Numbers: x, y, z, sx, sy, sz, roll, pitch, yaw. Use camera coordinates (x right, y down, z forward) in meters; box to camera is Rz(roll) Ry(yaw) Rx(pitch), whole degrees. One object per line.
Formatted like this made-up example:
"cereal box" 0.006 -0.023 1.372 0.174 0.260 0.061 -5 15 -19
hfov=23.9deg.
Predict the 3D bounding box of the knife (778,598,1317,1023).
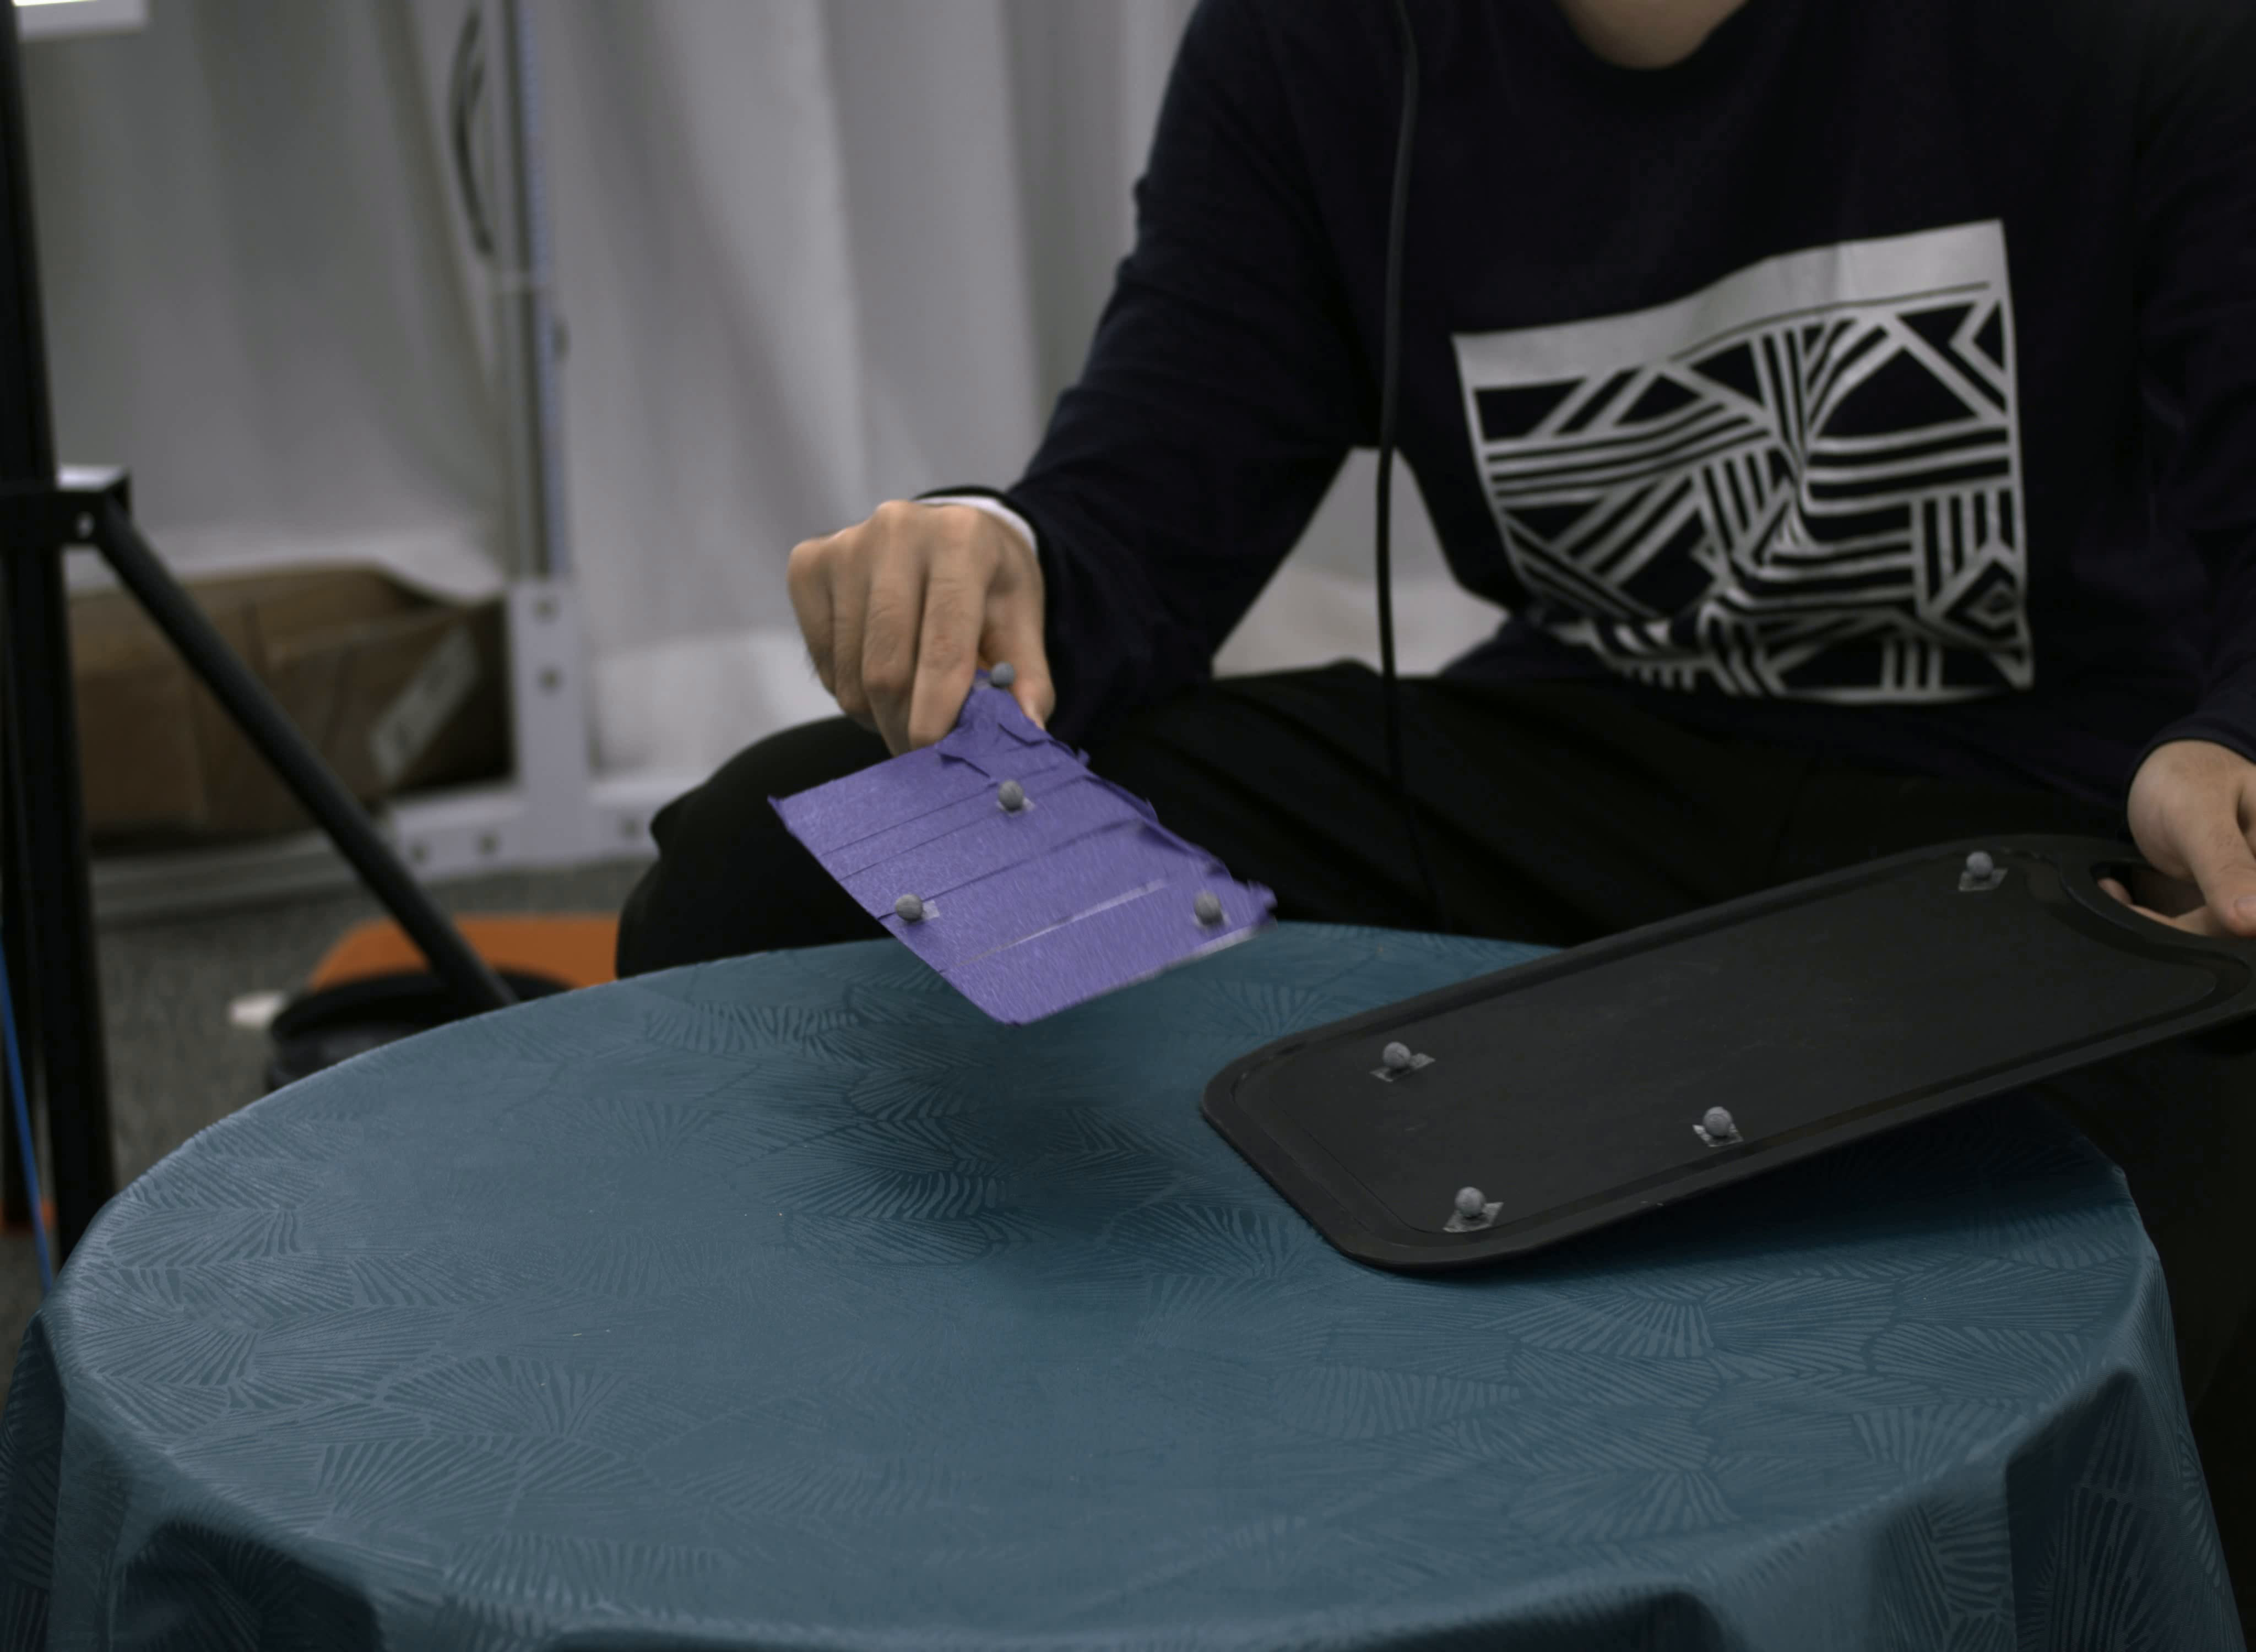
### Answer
"knife" -0.053 -0.009 1.654 0.102 0.032 0.321 -18 23 -18

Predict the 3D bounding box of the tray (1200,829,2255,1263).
"tray" 0.191 0.059 1.593 0.322 0.010 0.214 -16 18 -10
